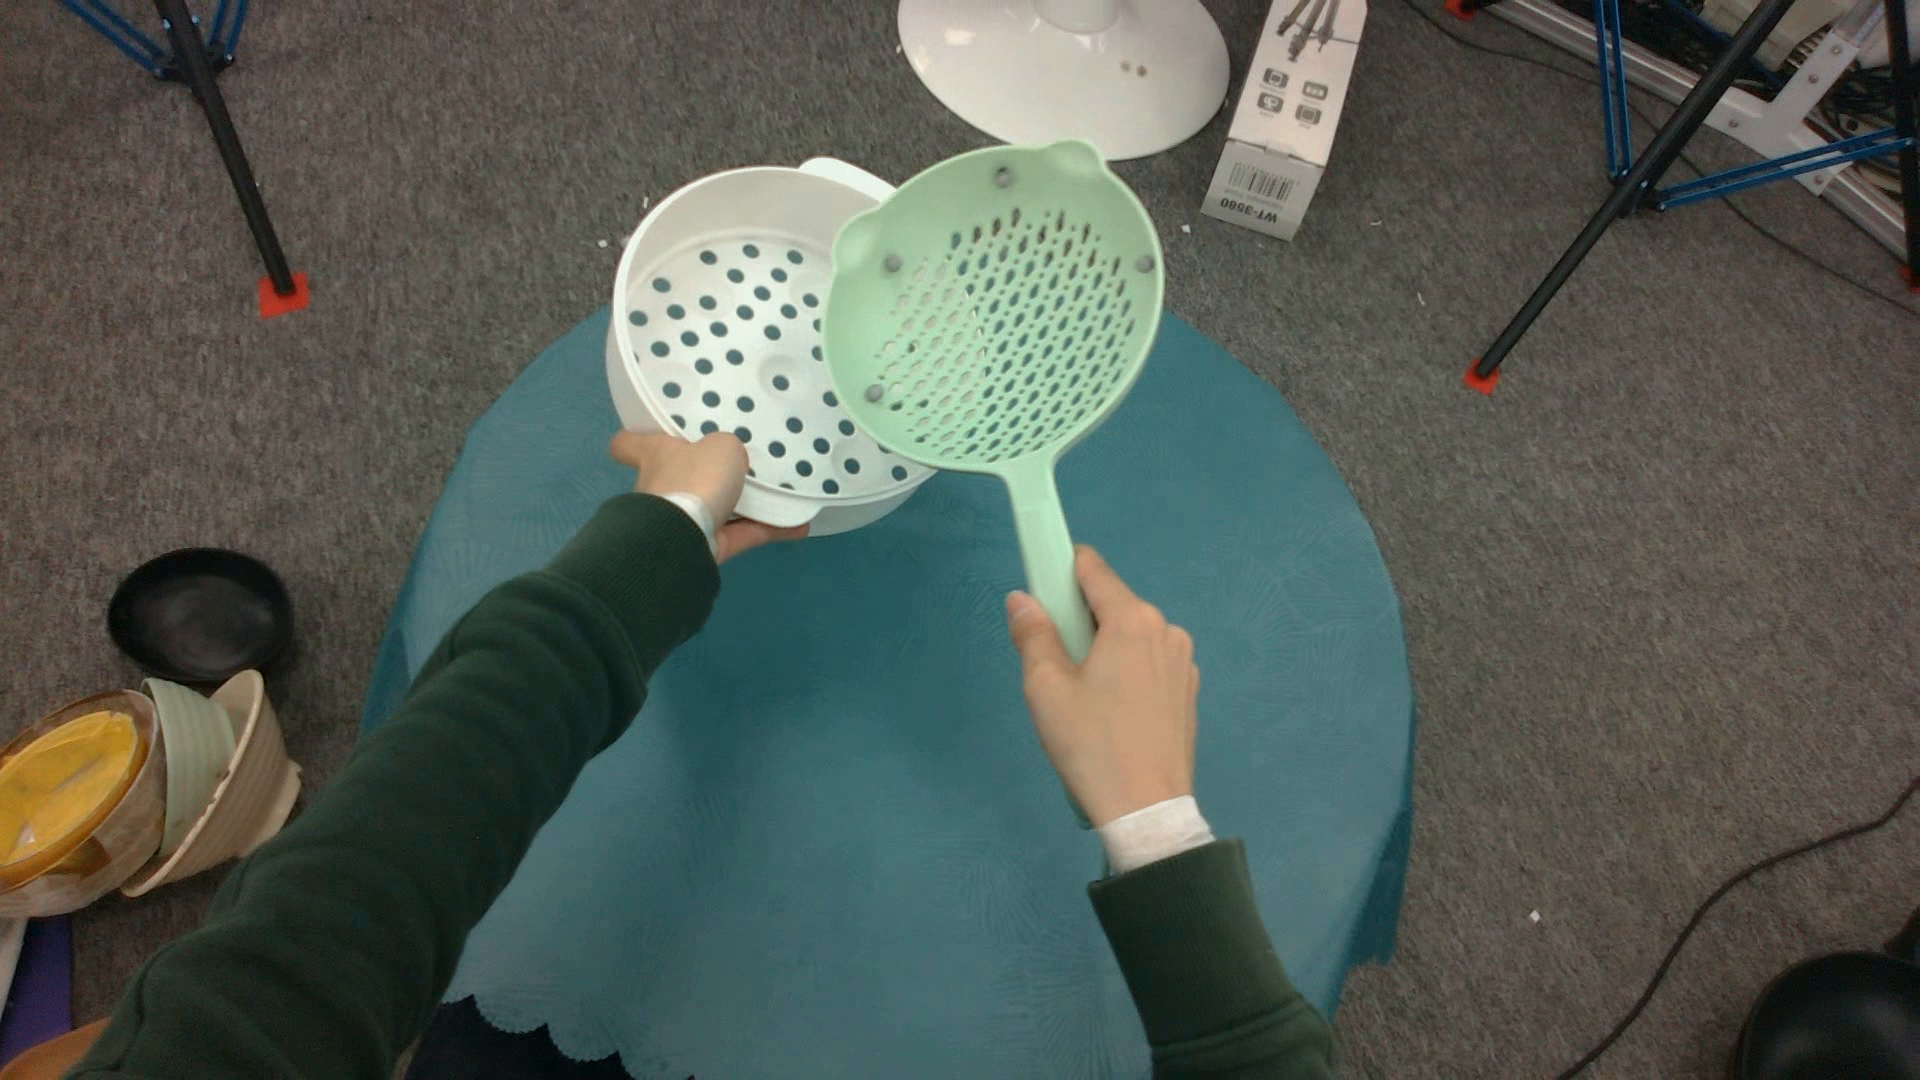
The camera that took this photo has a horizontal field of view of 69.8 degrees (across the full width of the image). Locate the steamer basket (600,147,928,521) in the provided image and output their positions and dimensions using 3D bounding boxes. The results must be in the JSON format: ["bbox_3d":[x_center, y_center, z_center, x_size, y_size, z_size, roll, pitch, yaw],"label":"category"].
[{"bbox_3d":[-0.094,-0.108,0.752,0.202,0.069,0.231,21,61,-13],"label":"steamer basket"}]

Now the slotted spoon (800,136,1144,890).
[{"bbox_3d":[0.027,-0.025,0.628,0.169,0.075,0.360,-18,59,11],"label":"slotted spoon"}]
